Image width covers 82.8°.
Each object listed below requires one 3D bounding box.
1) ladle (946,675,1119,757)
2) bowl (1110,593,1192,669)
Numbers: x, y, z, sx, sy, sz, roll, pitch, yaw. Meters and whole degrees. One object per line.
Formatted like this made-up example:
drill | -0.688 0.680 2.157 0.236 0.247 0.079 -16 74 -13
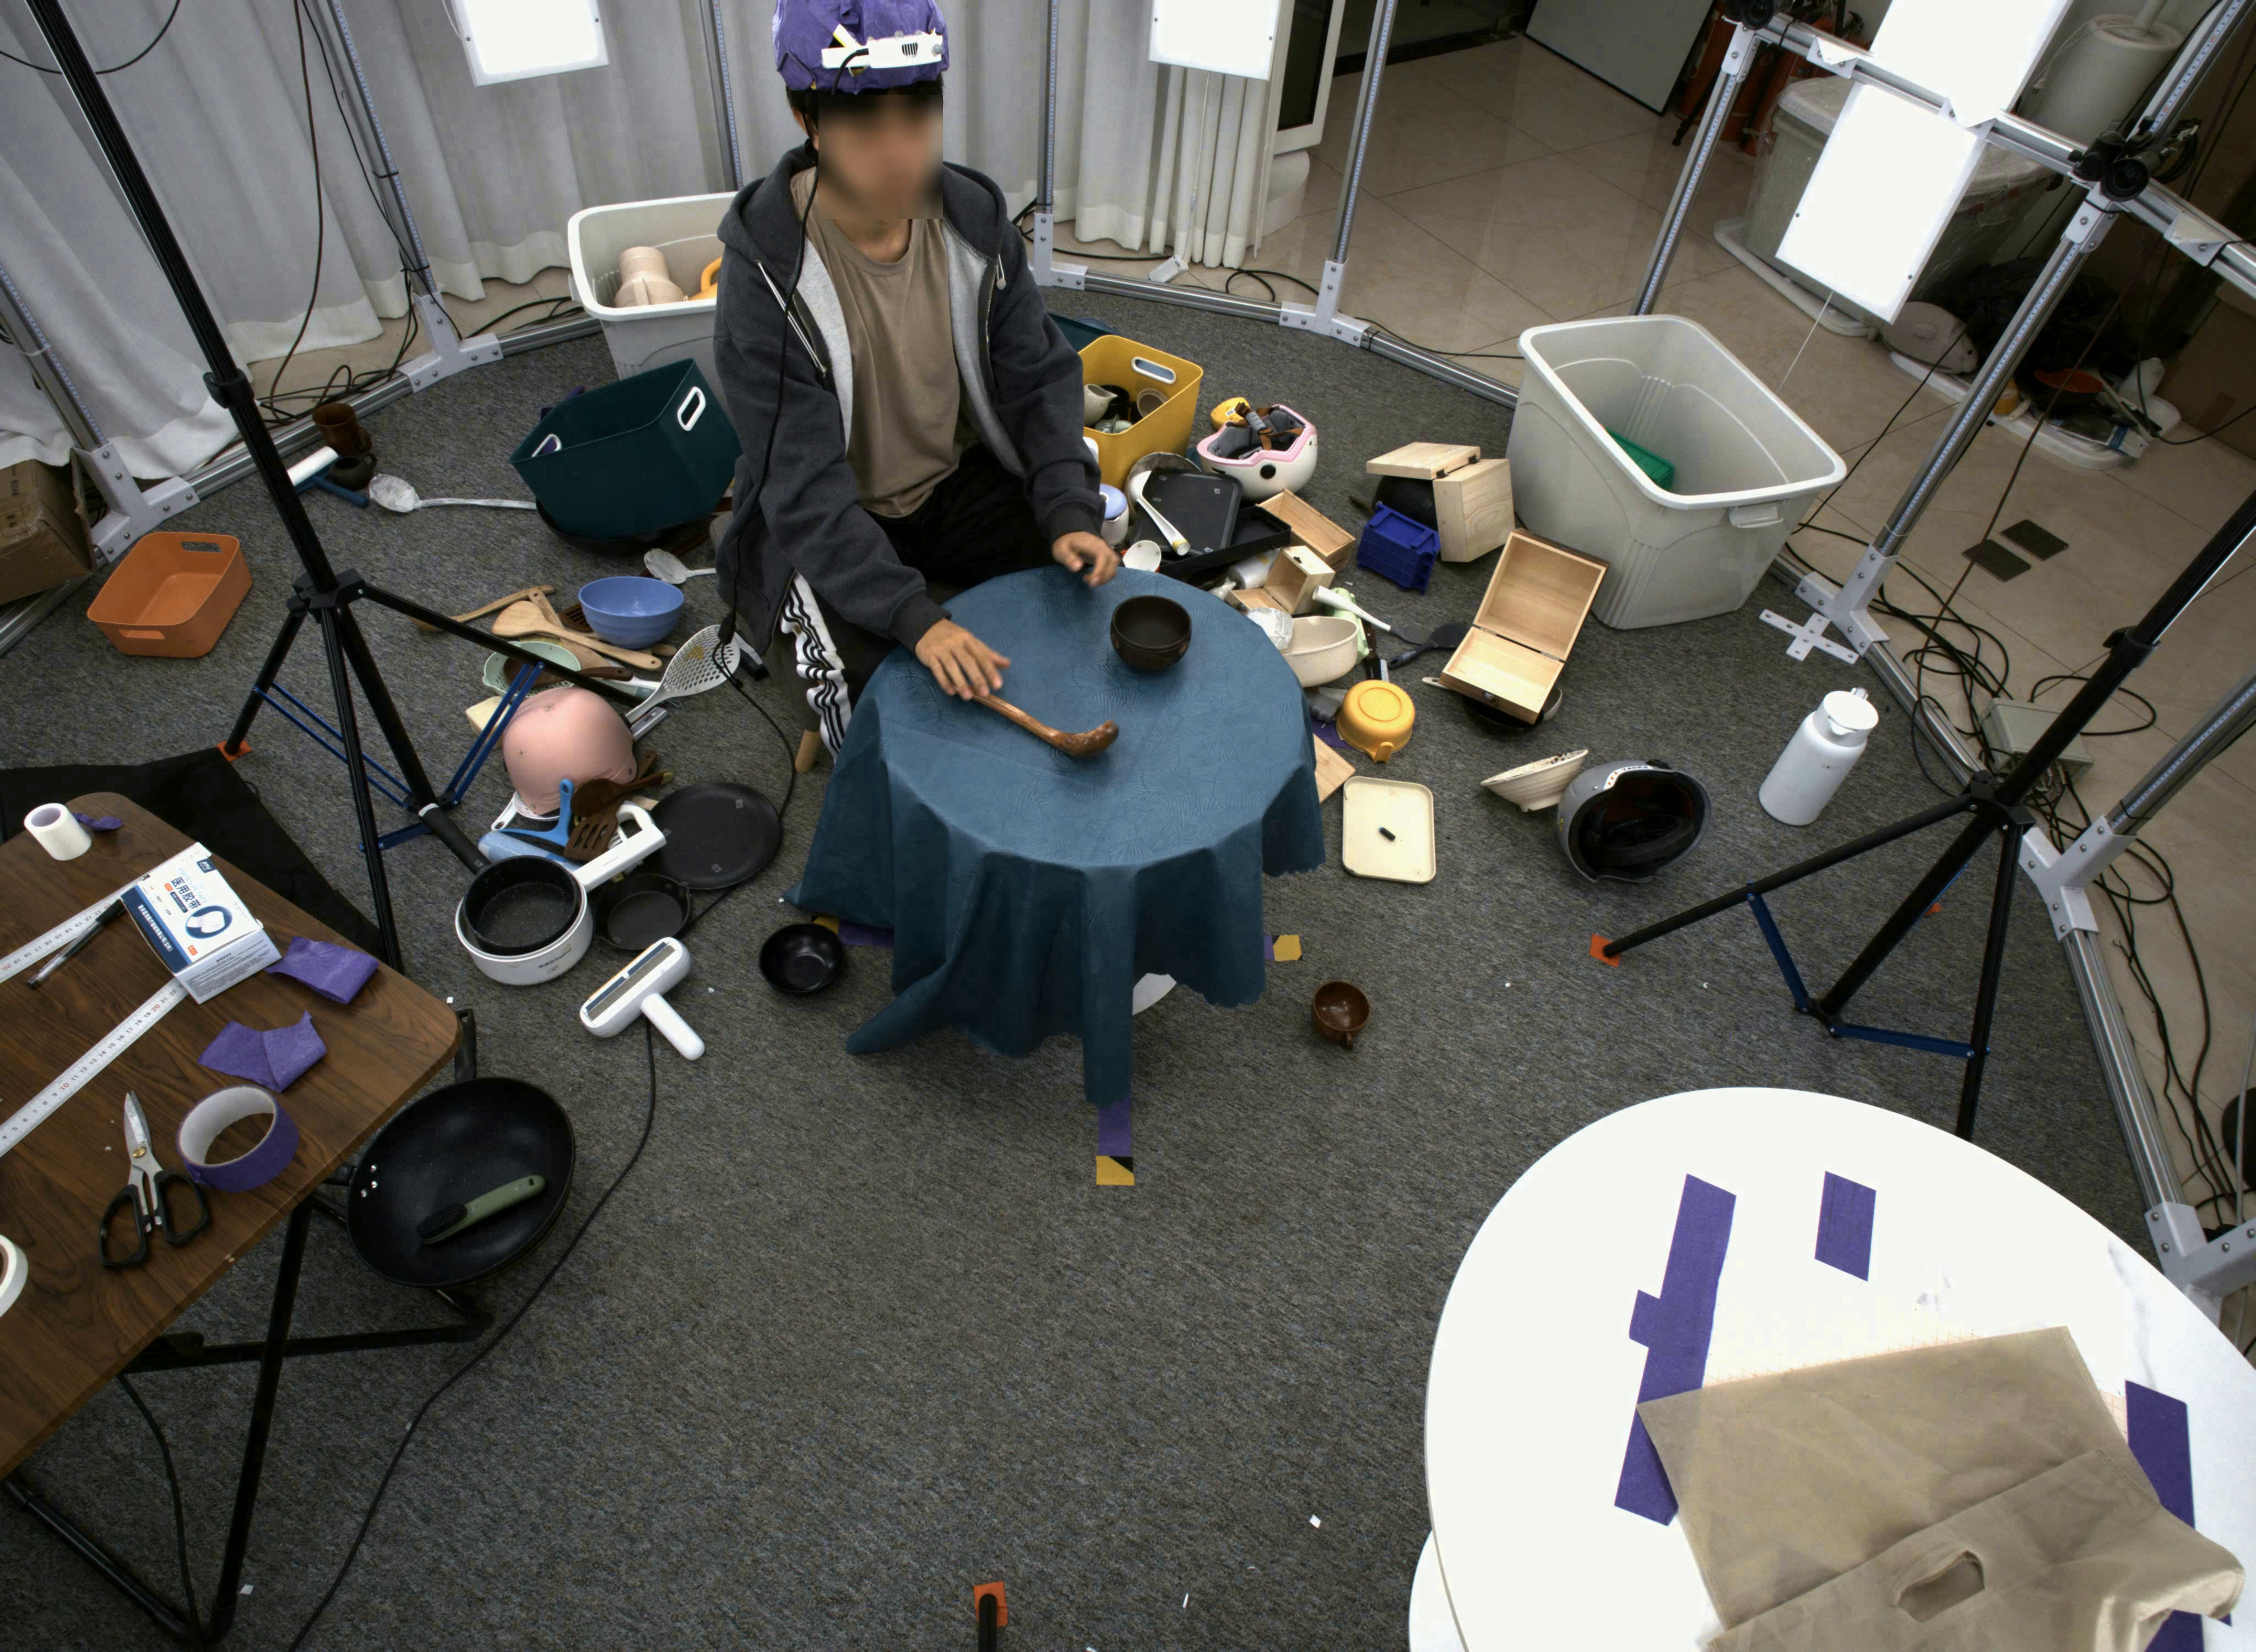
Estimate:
ladle | -0.136 -0.169 1.754 0.277 0.075 0.082 30 31 22
bowl | 0.033 -0.273 1.858 0.118 0.068 0.121 2 49 -2
